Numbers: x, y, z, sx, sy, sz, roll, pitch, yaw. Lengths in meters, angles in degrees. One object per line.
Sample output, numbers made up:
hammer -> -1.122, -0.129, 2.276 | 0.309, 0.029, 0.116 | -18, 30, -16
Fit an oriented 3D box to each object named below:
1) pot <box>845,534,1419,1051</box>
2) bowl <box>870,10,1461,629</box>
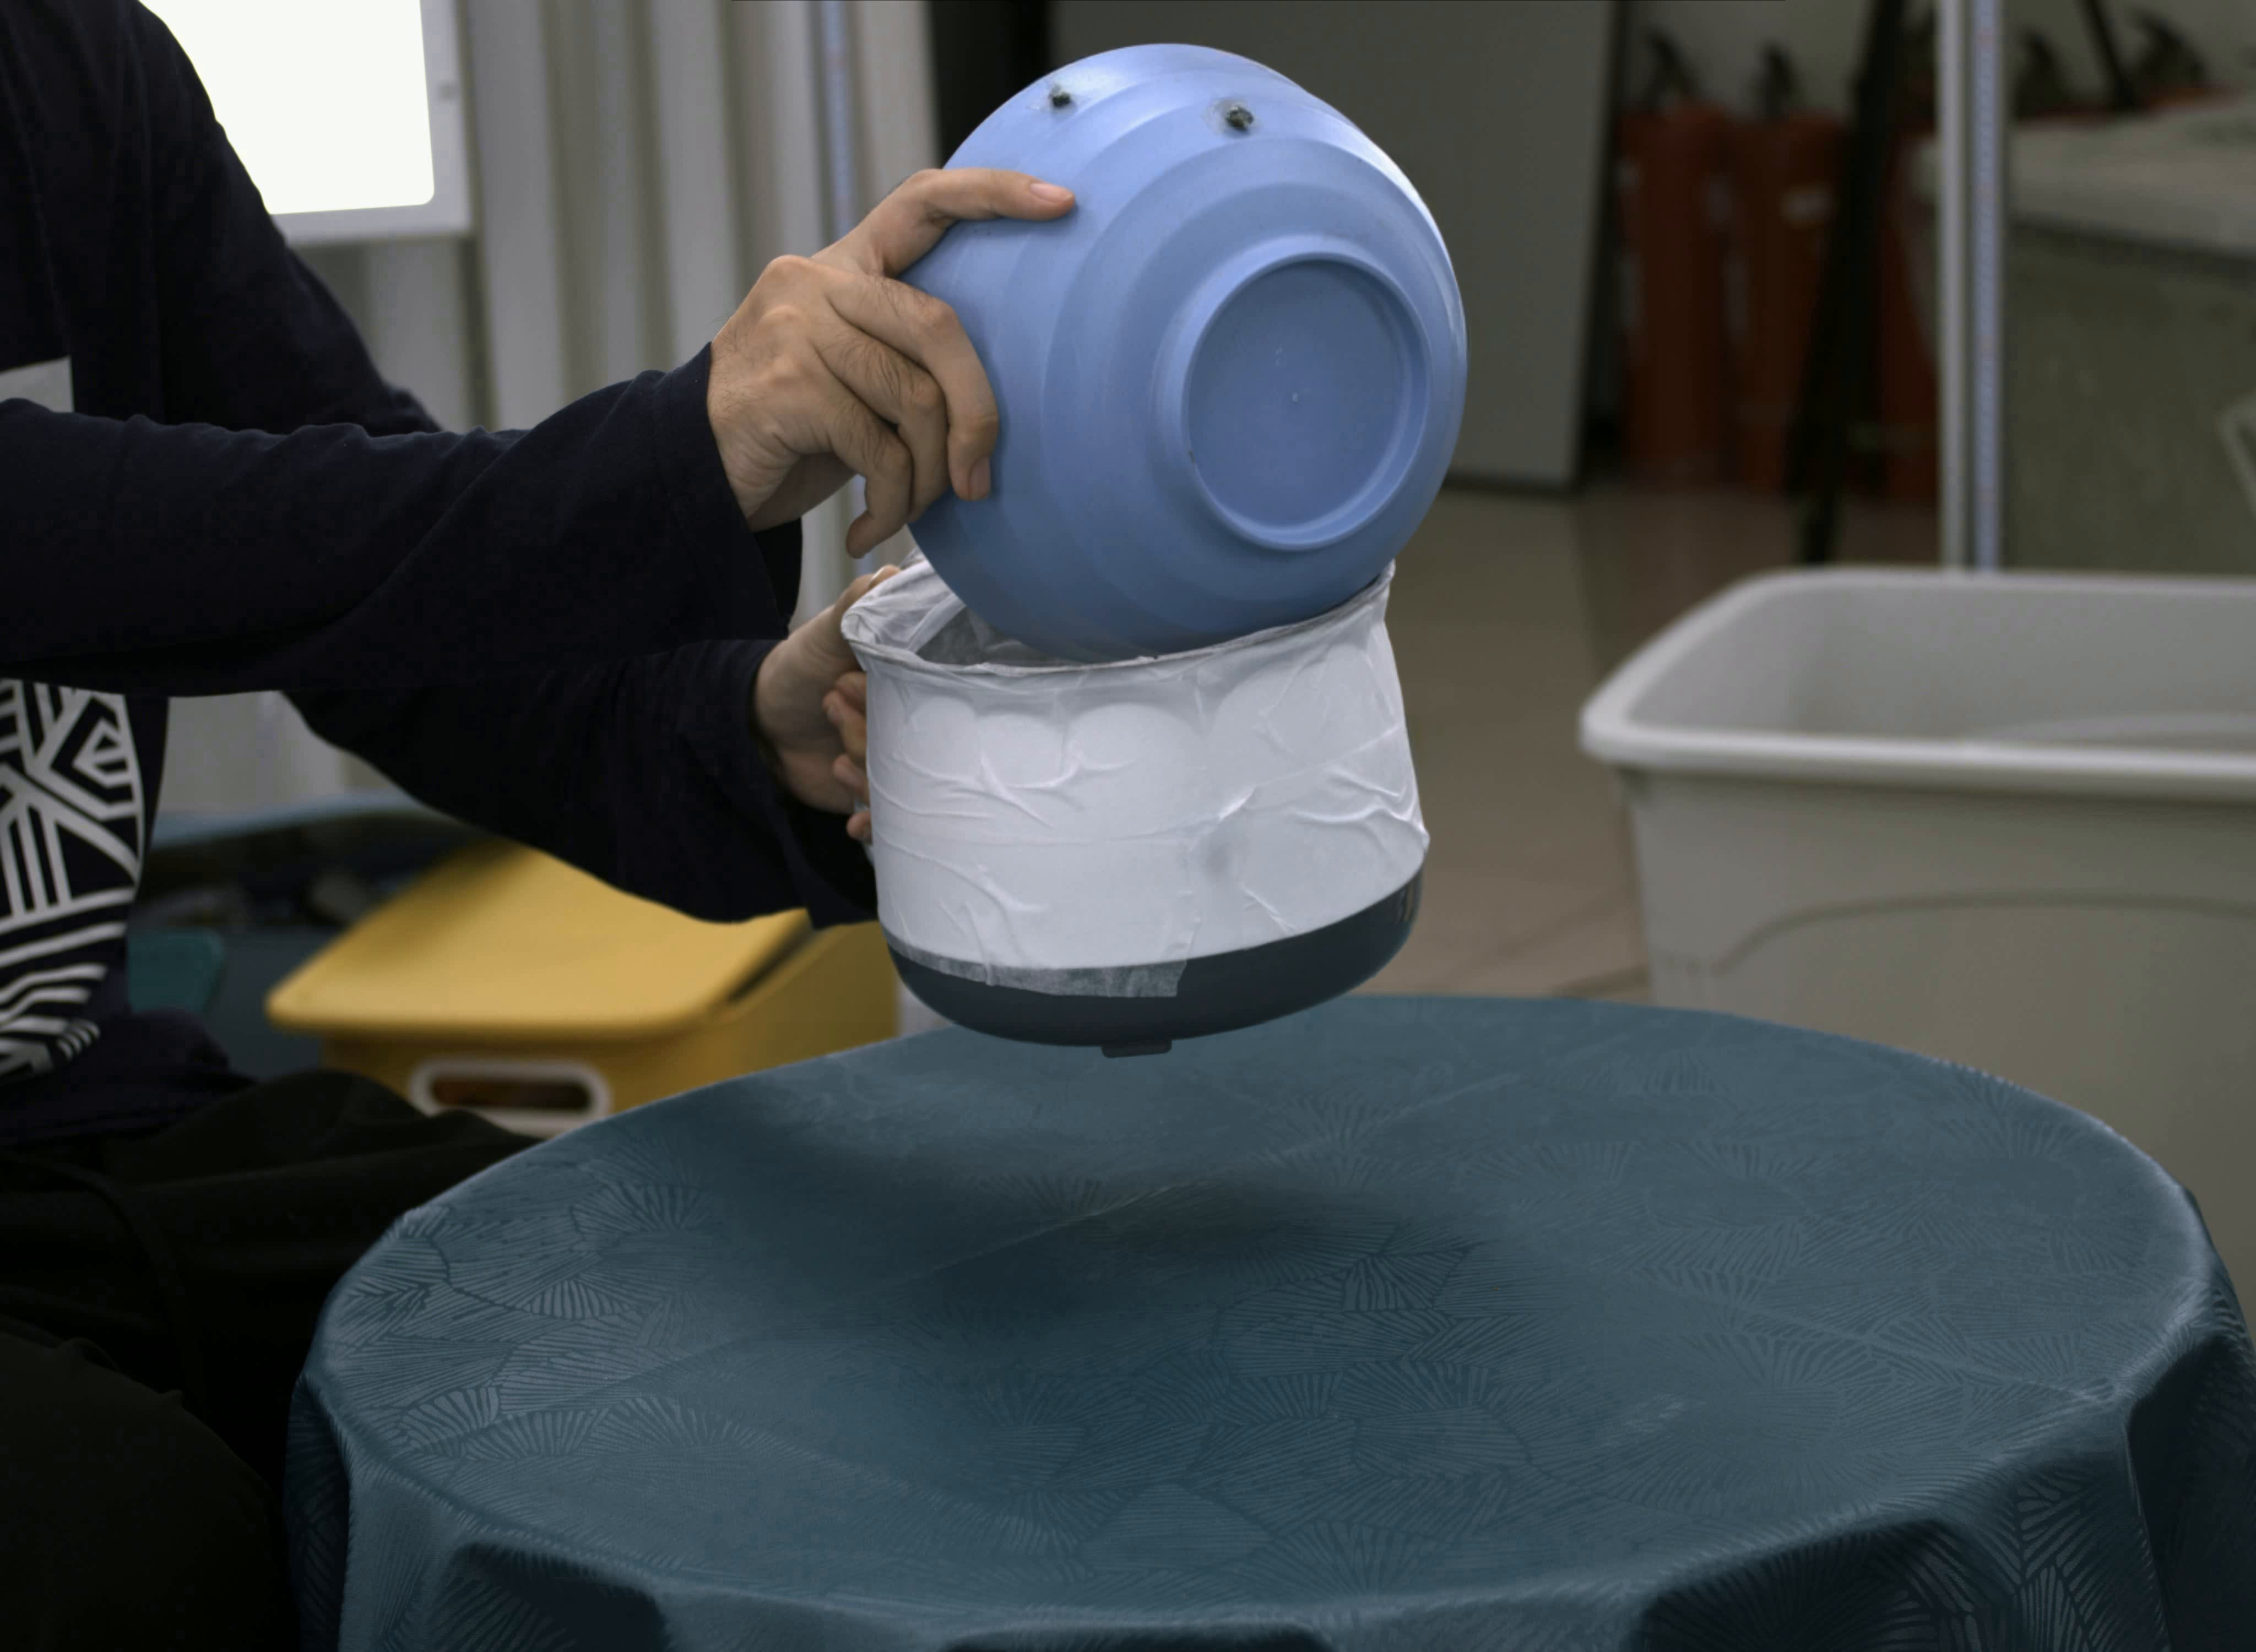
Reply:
pot -> -0.014, -0.020, 1.731 | 0.175, 0.138, 0.236 | -16, 18, -36
bowl -> 0.028, -0.142, 1.640 | 0.192, 0.198, 0.096 | -10, 19, -28
